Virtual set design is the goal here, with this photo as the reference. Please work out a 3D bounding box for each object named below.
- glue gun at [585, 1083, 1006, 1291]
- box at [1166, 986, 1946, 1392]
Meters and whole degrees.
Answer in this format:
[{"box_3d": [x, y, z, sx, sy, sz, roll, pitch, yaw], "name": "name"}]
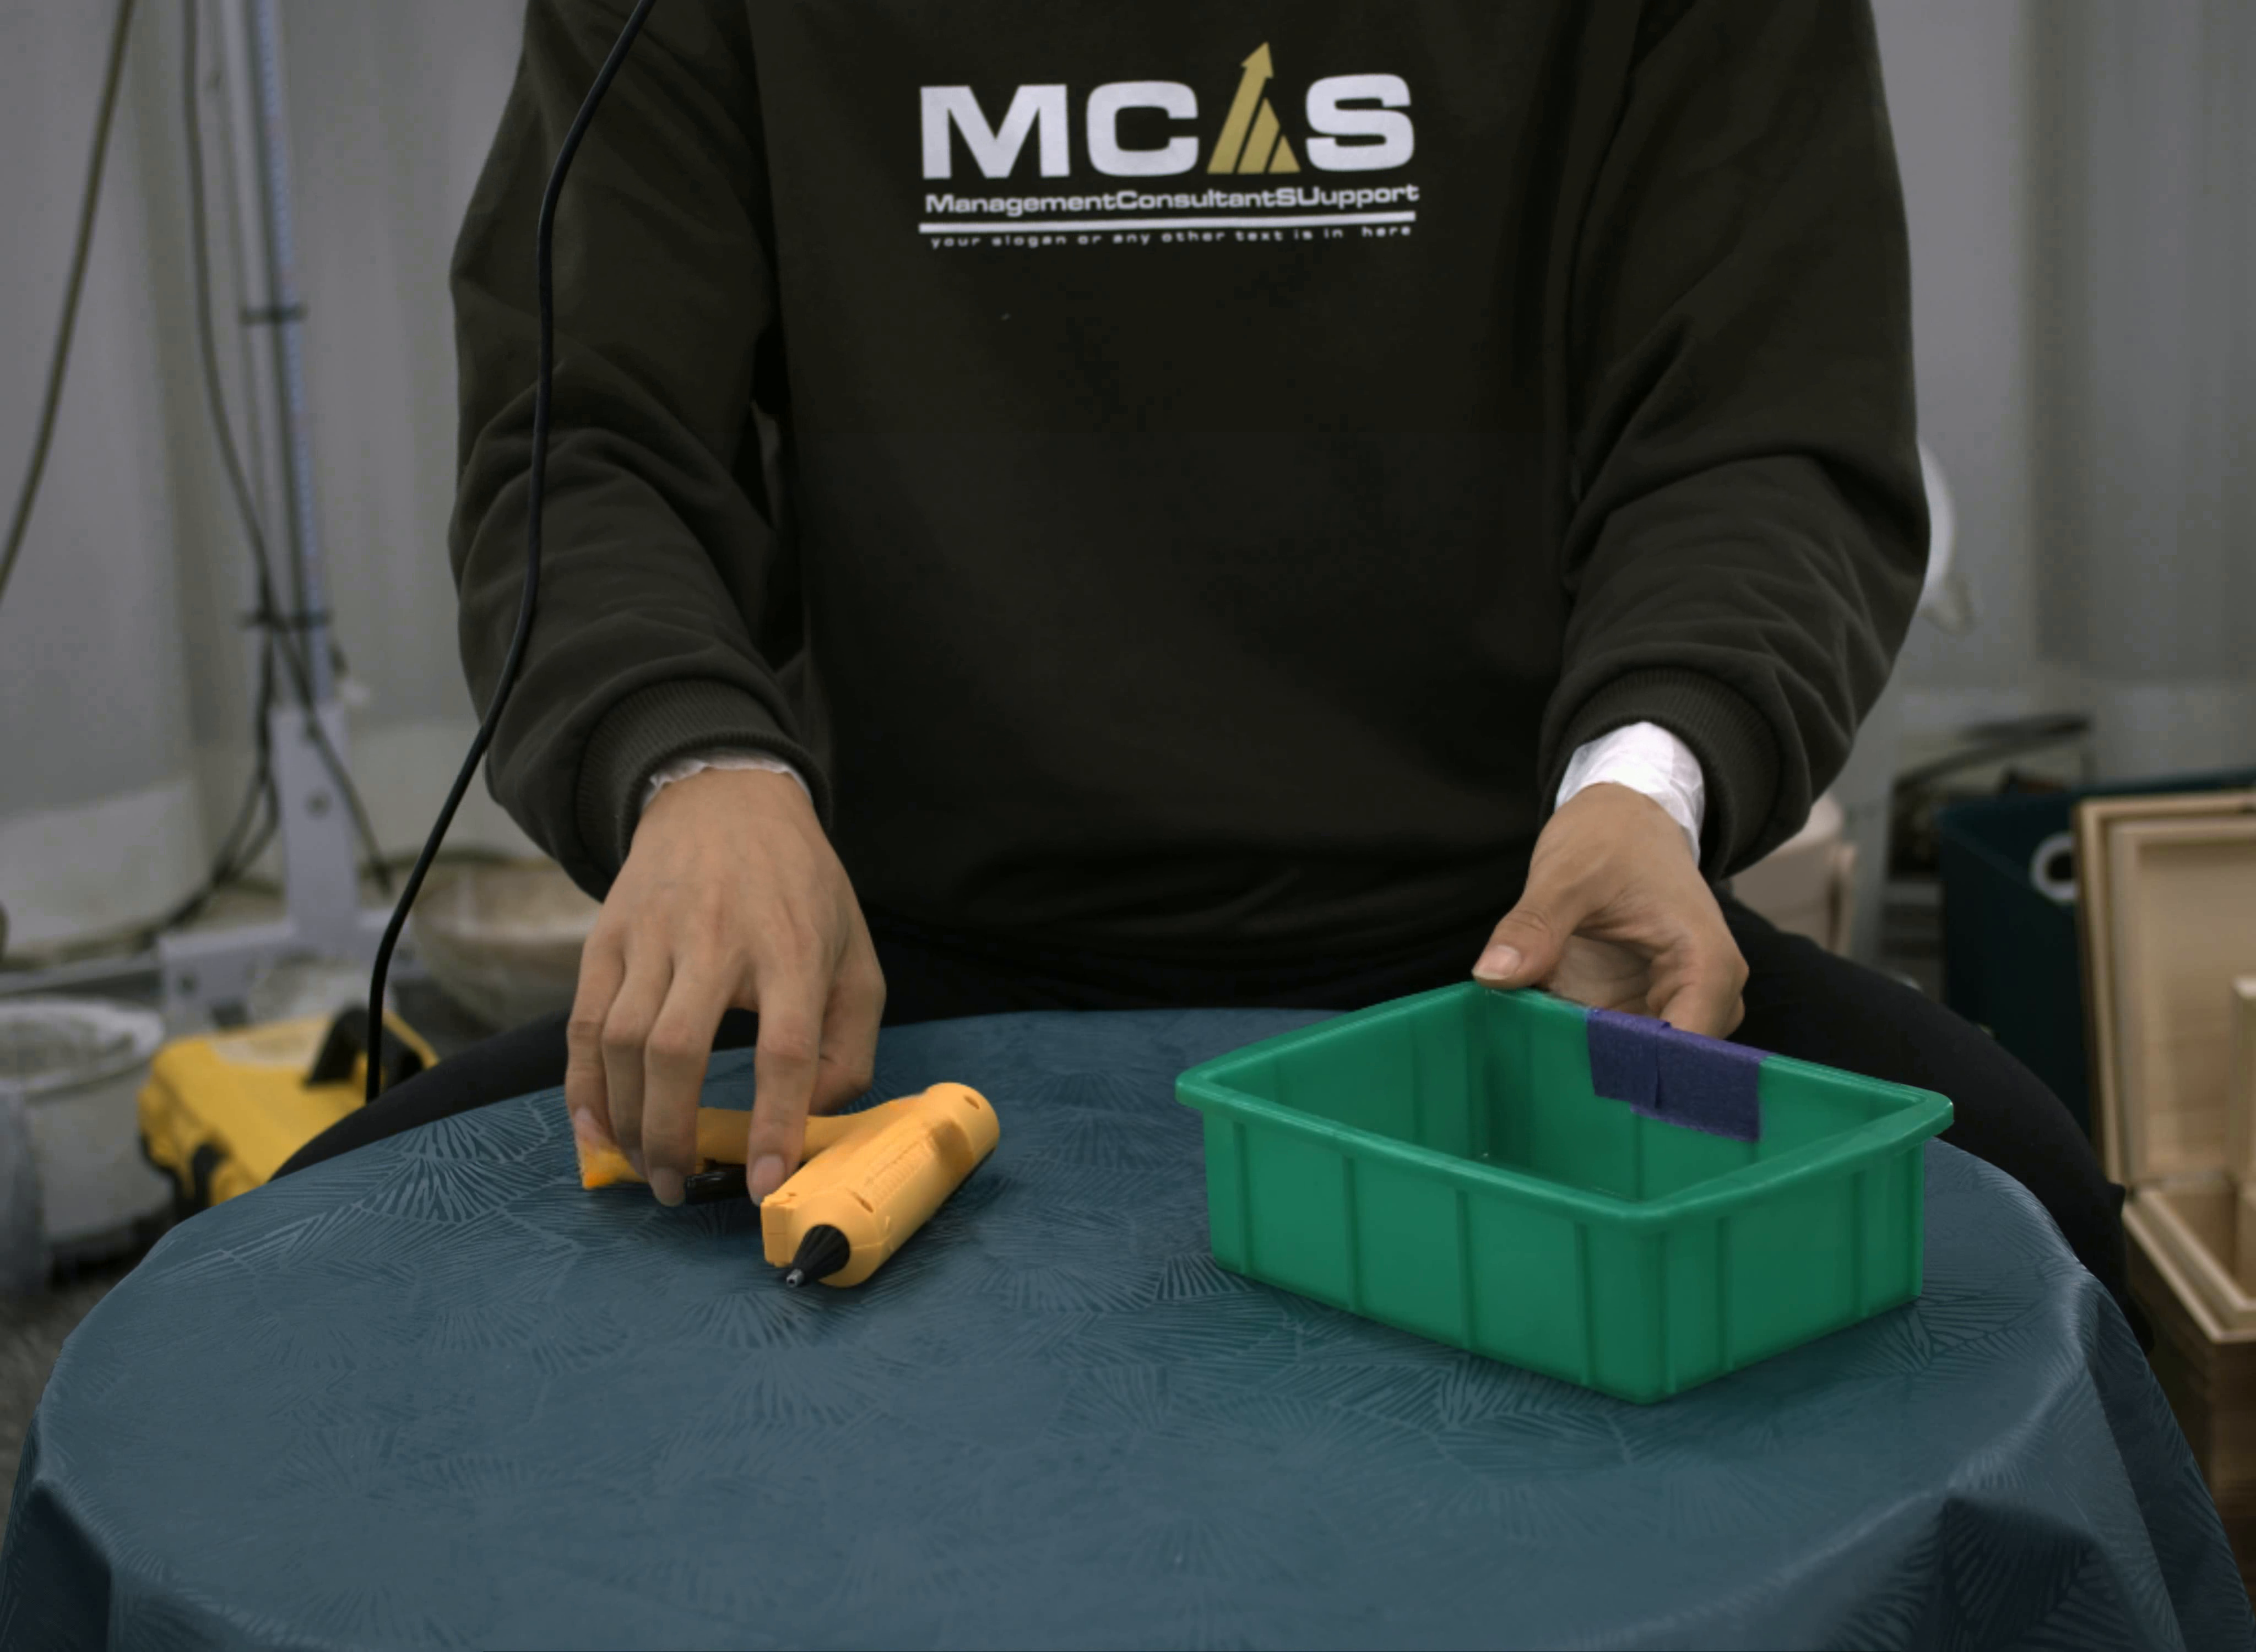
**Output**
[{"box_3d": [-0.119, 0.116, 1.687, 0.133, 0.031, 0.152, -1, 15, 14], "name": "glue gun"}, {"box_3d": [0.124, 0.105, 1.607, 0.138, 0.065, 0.211, -13, 16, -41], "name": "box"}]
